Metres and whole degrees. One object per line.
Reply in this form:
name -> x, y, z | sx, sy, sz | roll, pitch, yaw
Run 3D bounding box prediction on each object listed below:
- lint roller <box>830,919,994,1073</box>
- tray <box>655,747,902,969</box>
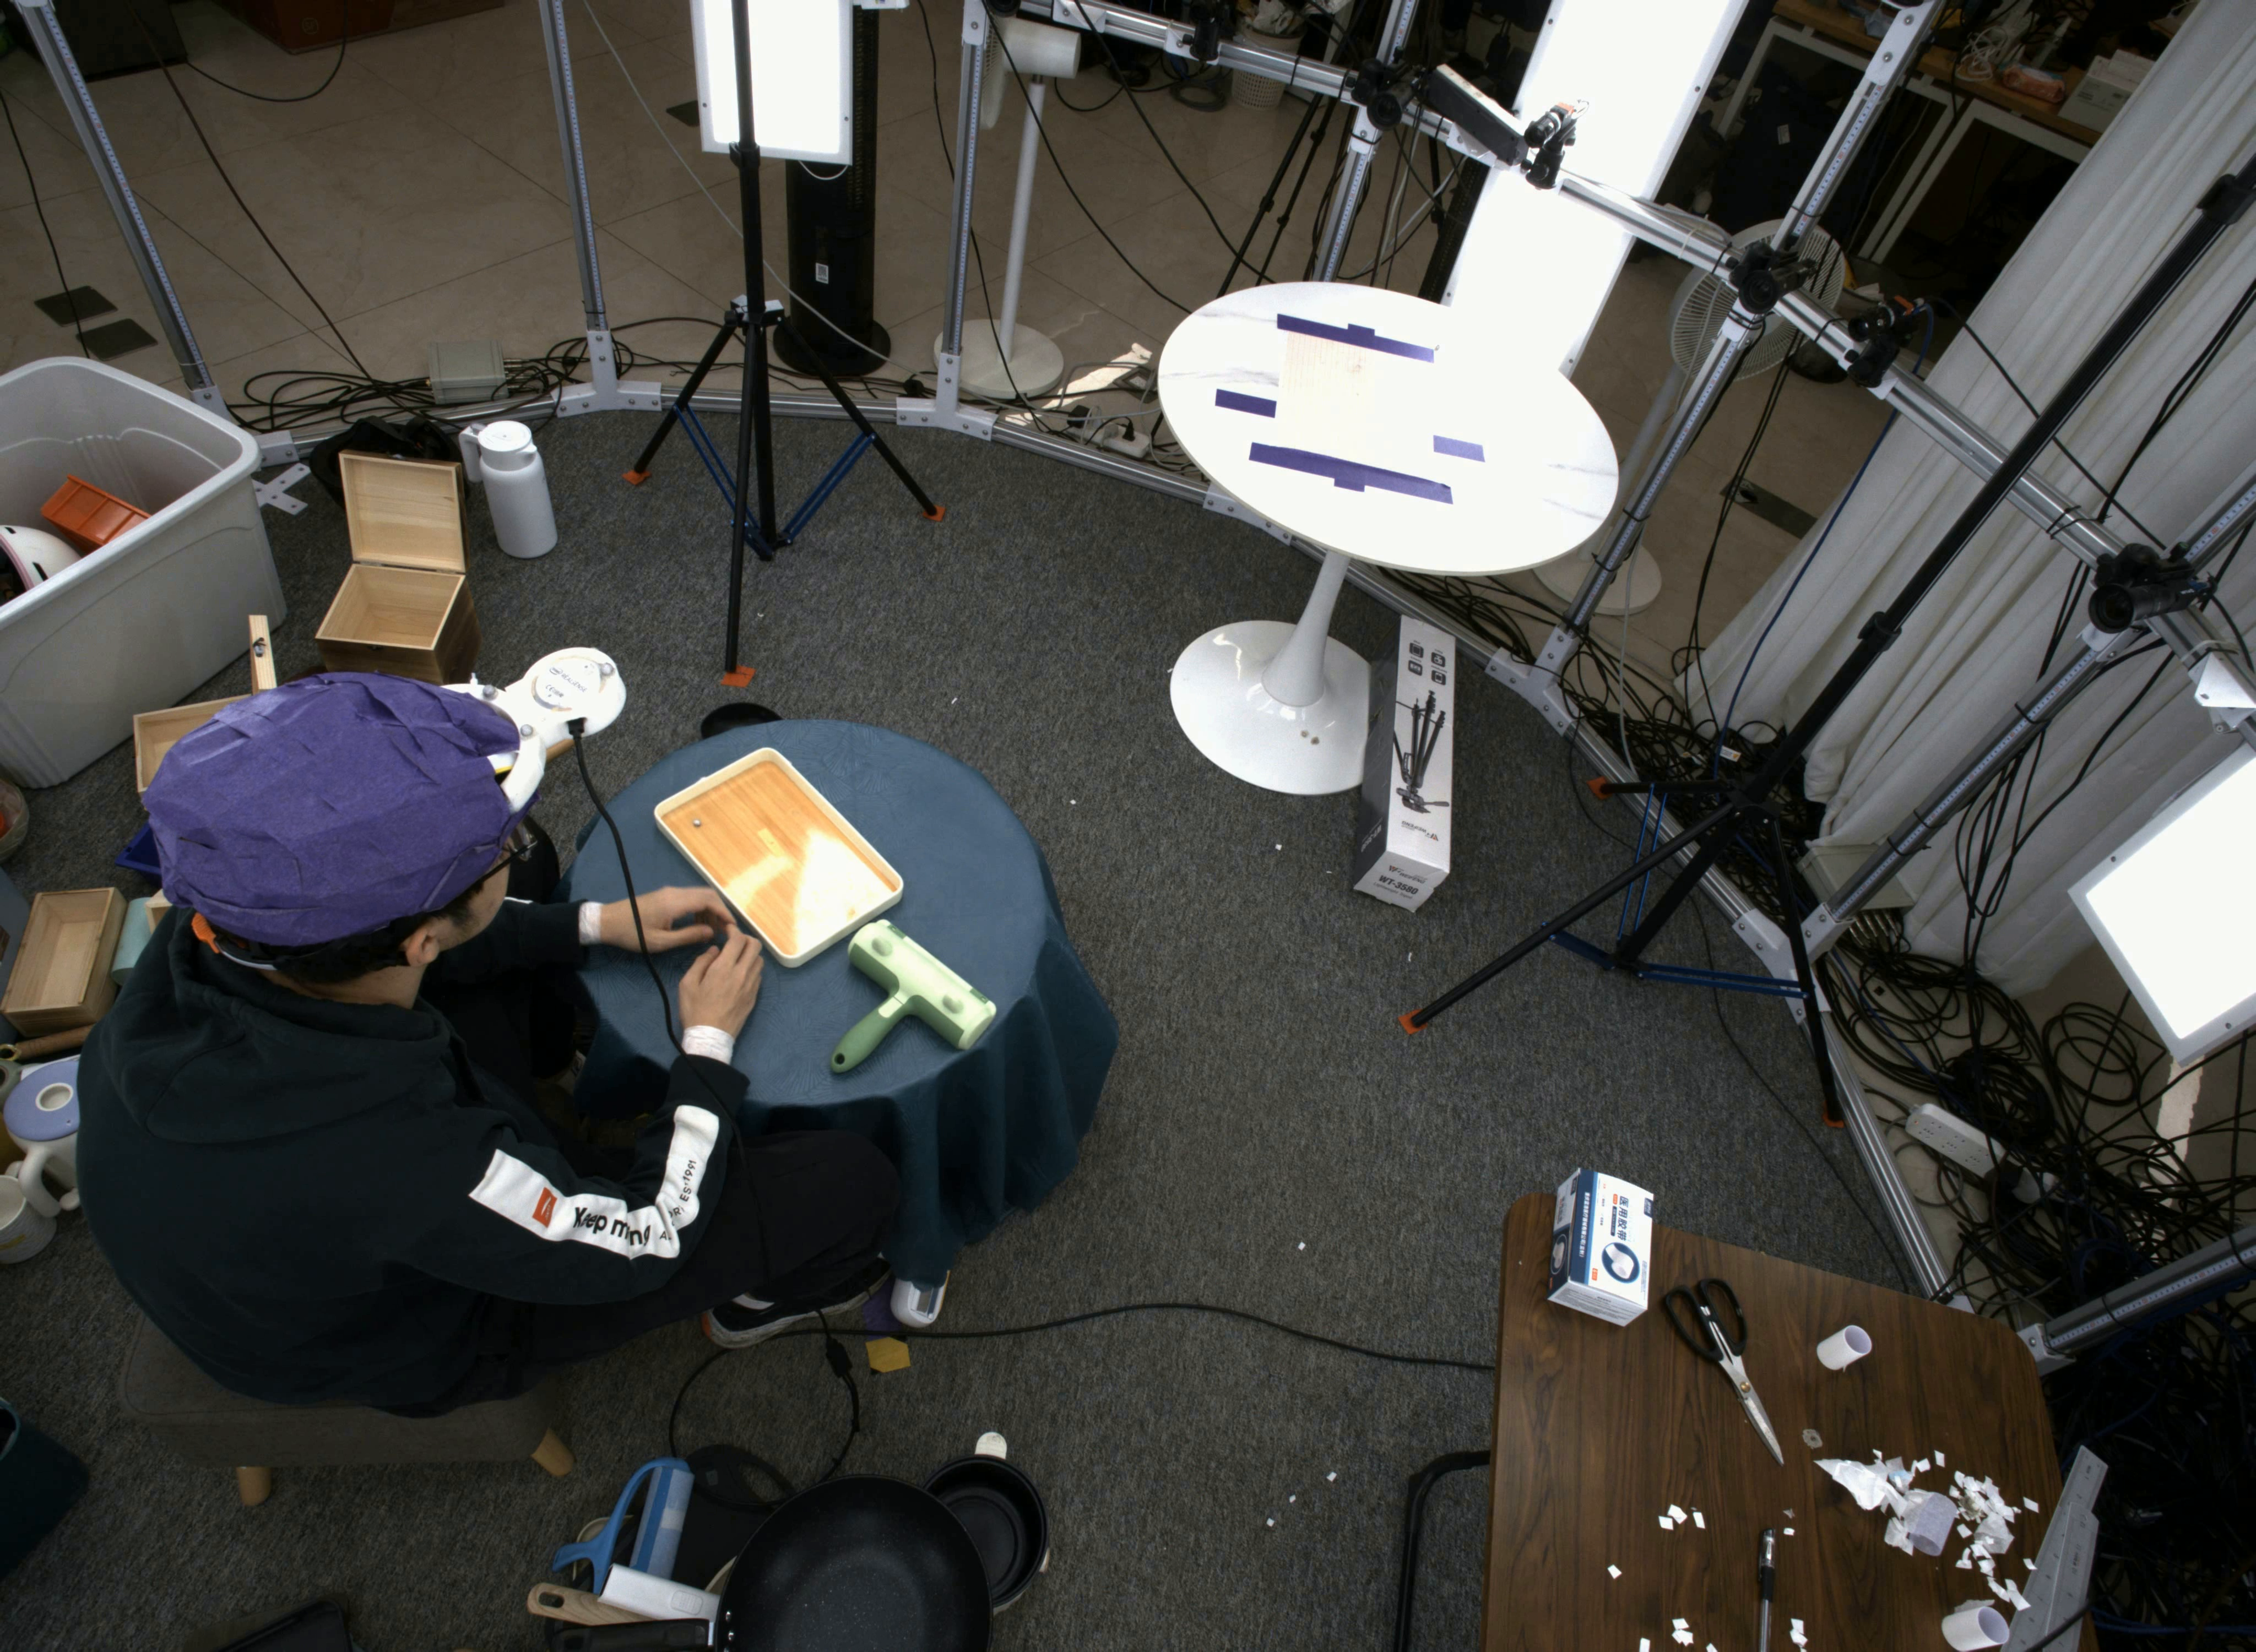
lint roller -> -0.288, 0.216, 1.557 | 0.195, 0.084, 0.183 | 36, 50, 13
tray -> -0.454, 0.034, 1.680 | 0.294, 0.028, 0.192 | 43, 56, 17
